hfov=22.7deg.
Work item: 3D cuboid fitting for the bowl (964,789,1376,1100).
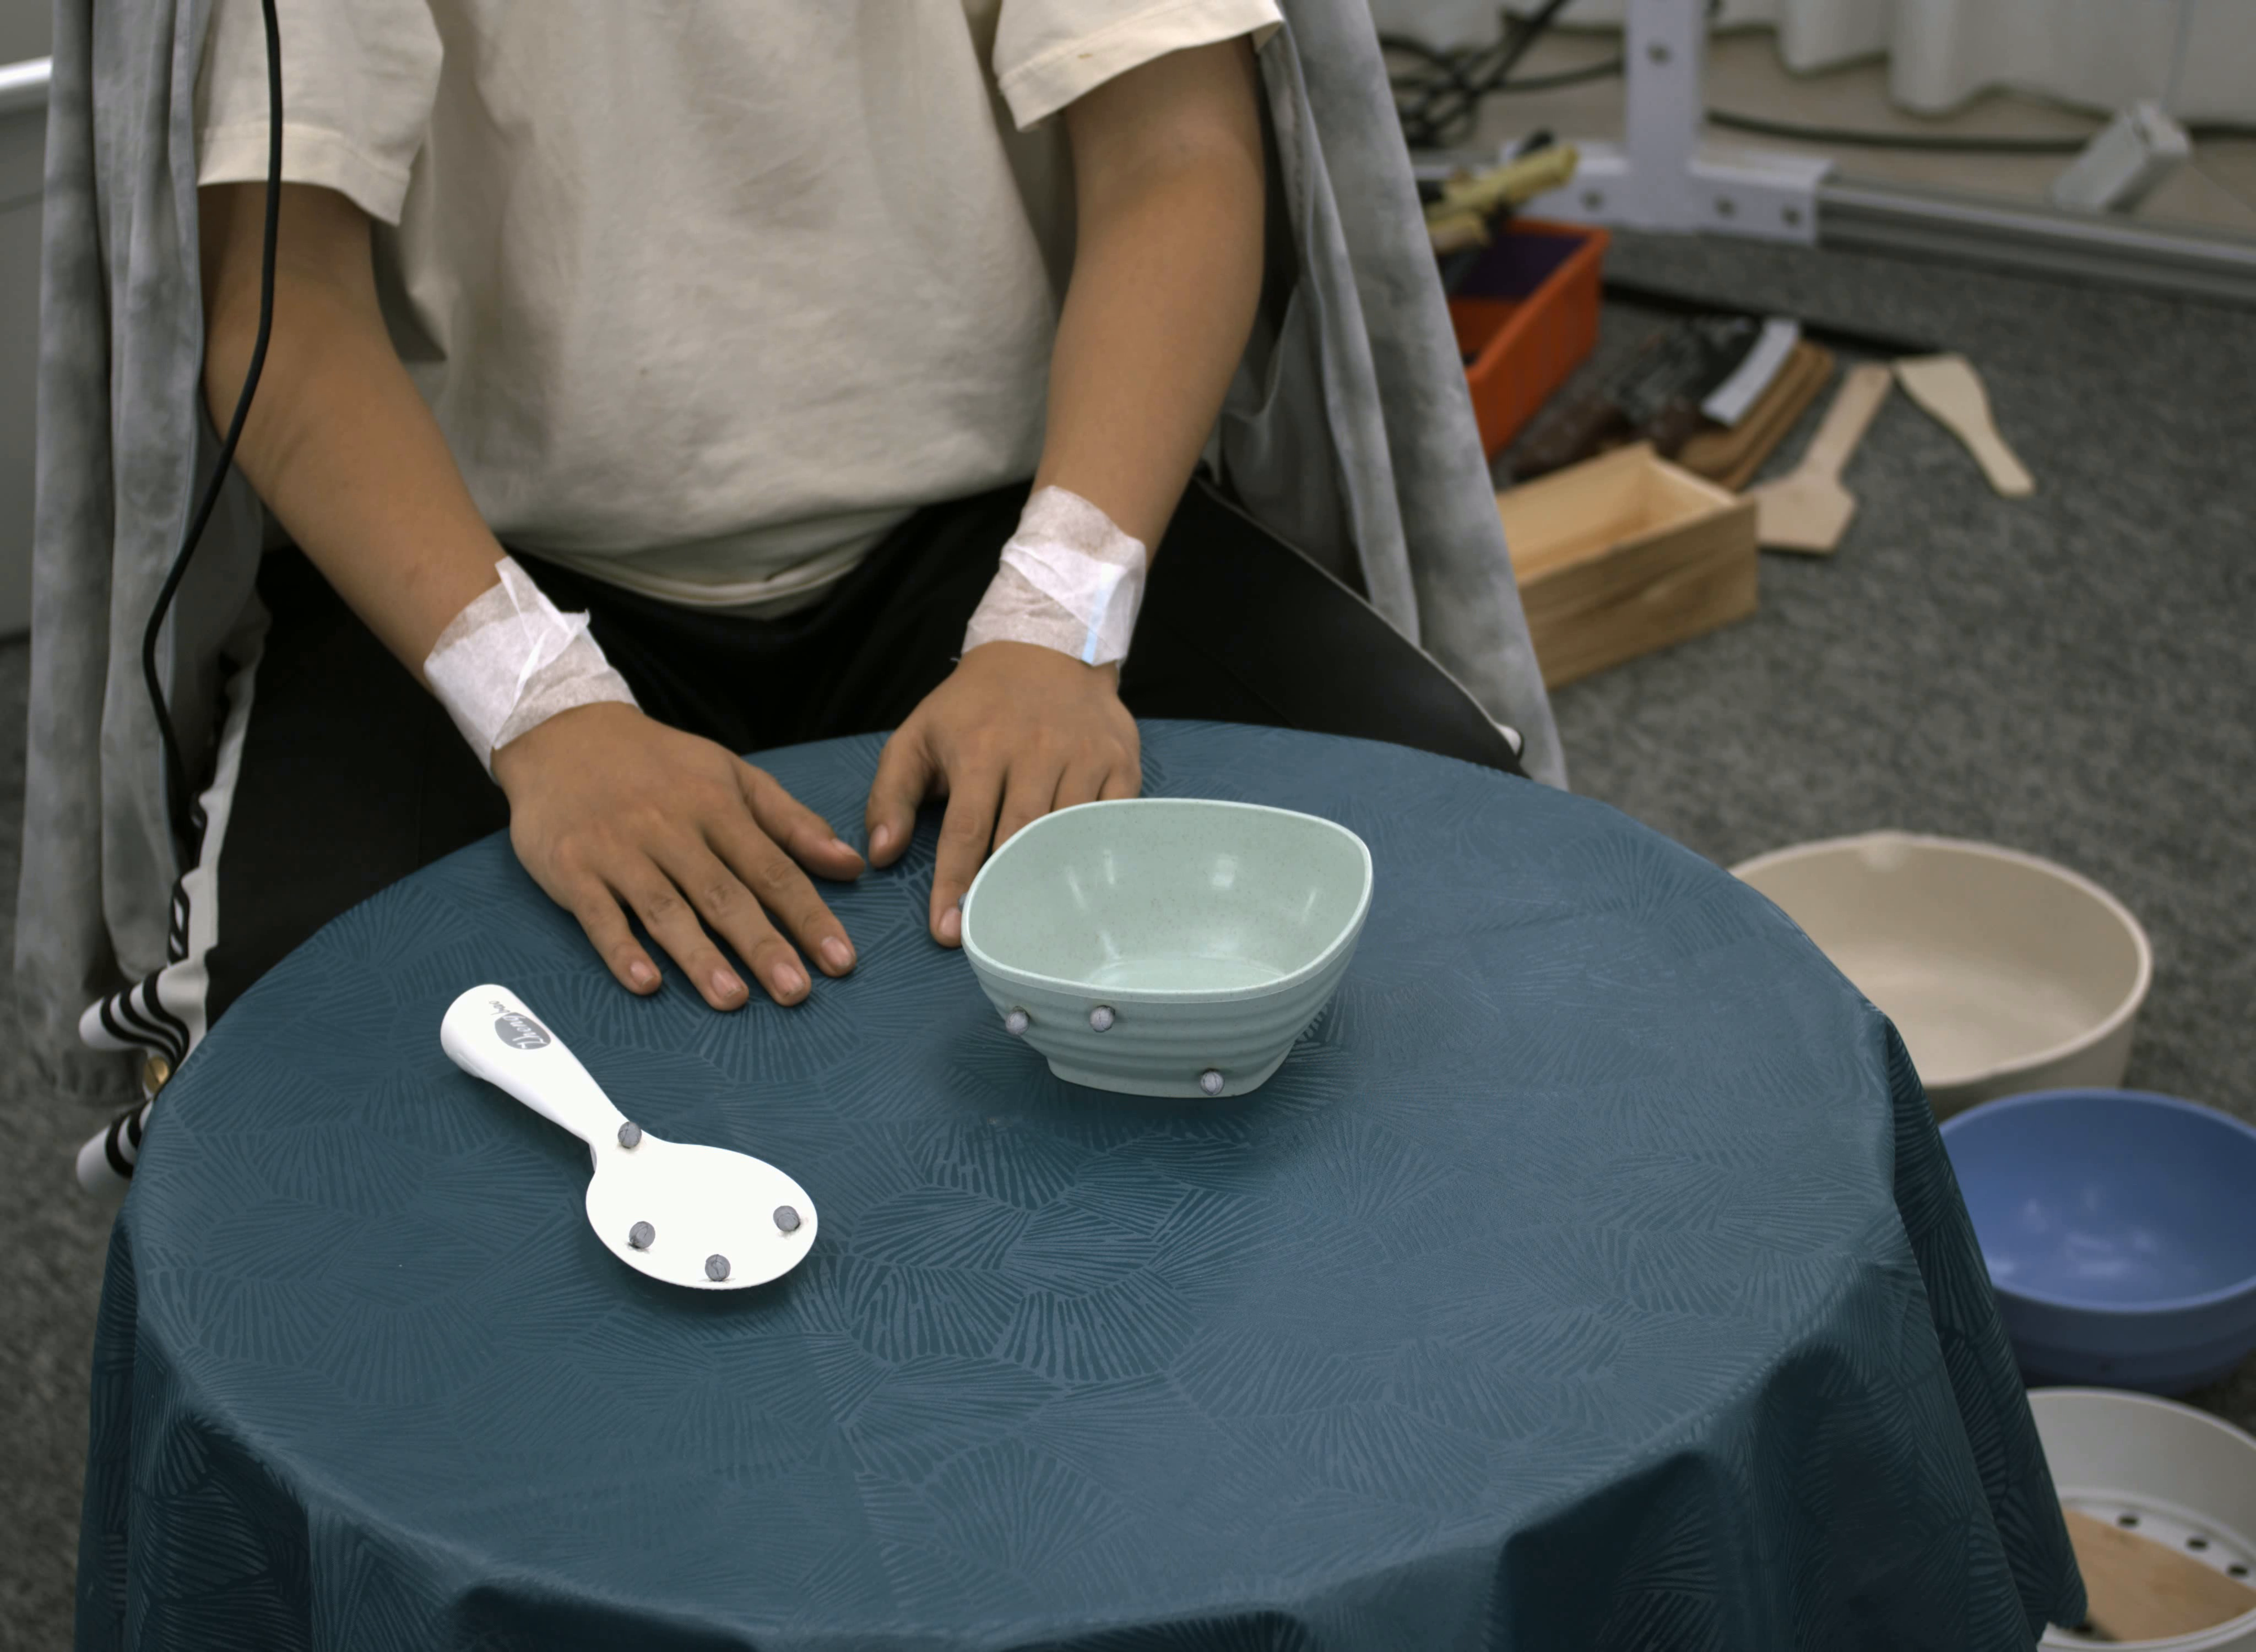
[{"bbox_3d":[0.017,0.047,1.938,0.150,0.058,0.154,-5,29,3],"label":"bowl"}]

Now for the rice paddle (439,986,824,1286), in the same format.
[{"bbox_3d":[-0.169,0.105,1.876,0.069,0.029,0.206,-21,32,-28],"label":"rice paddle"}]
